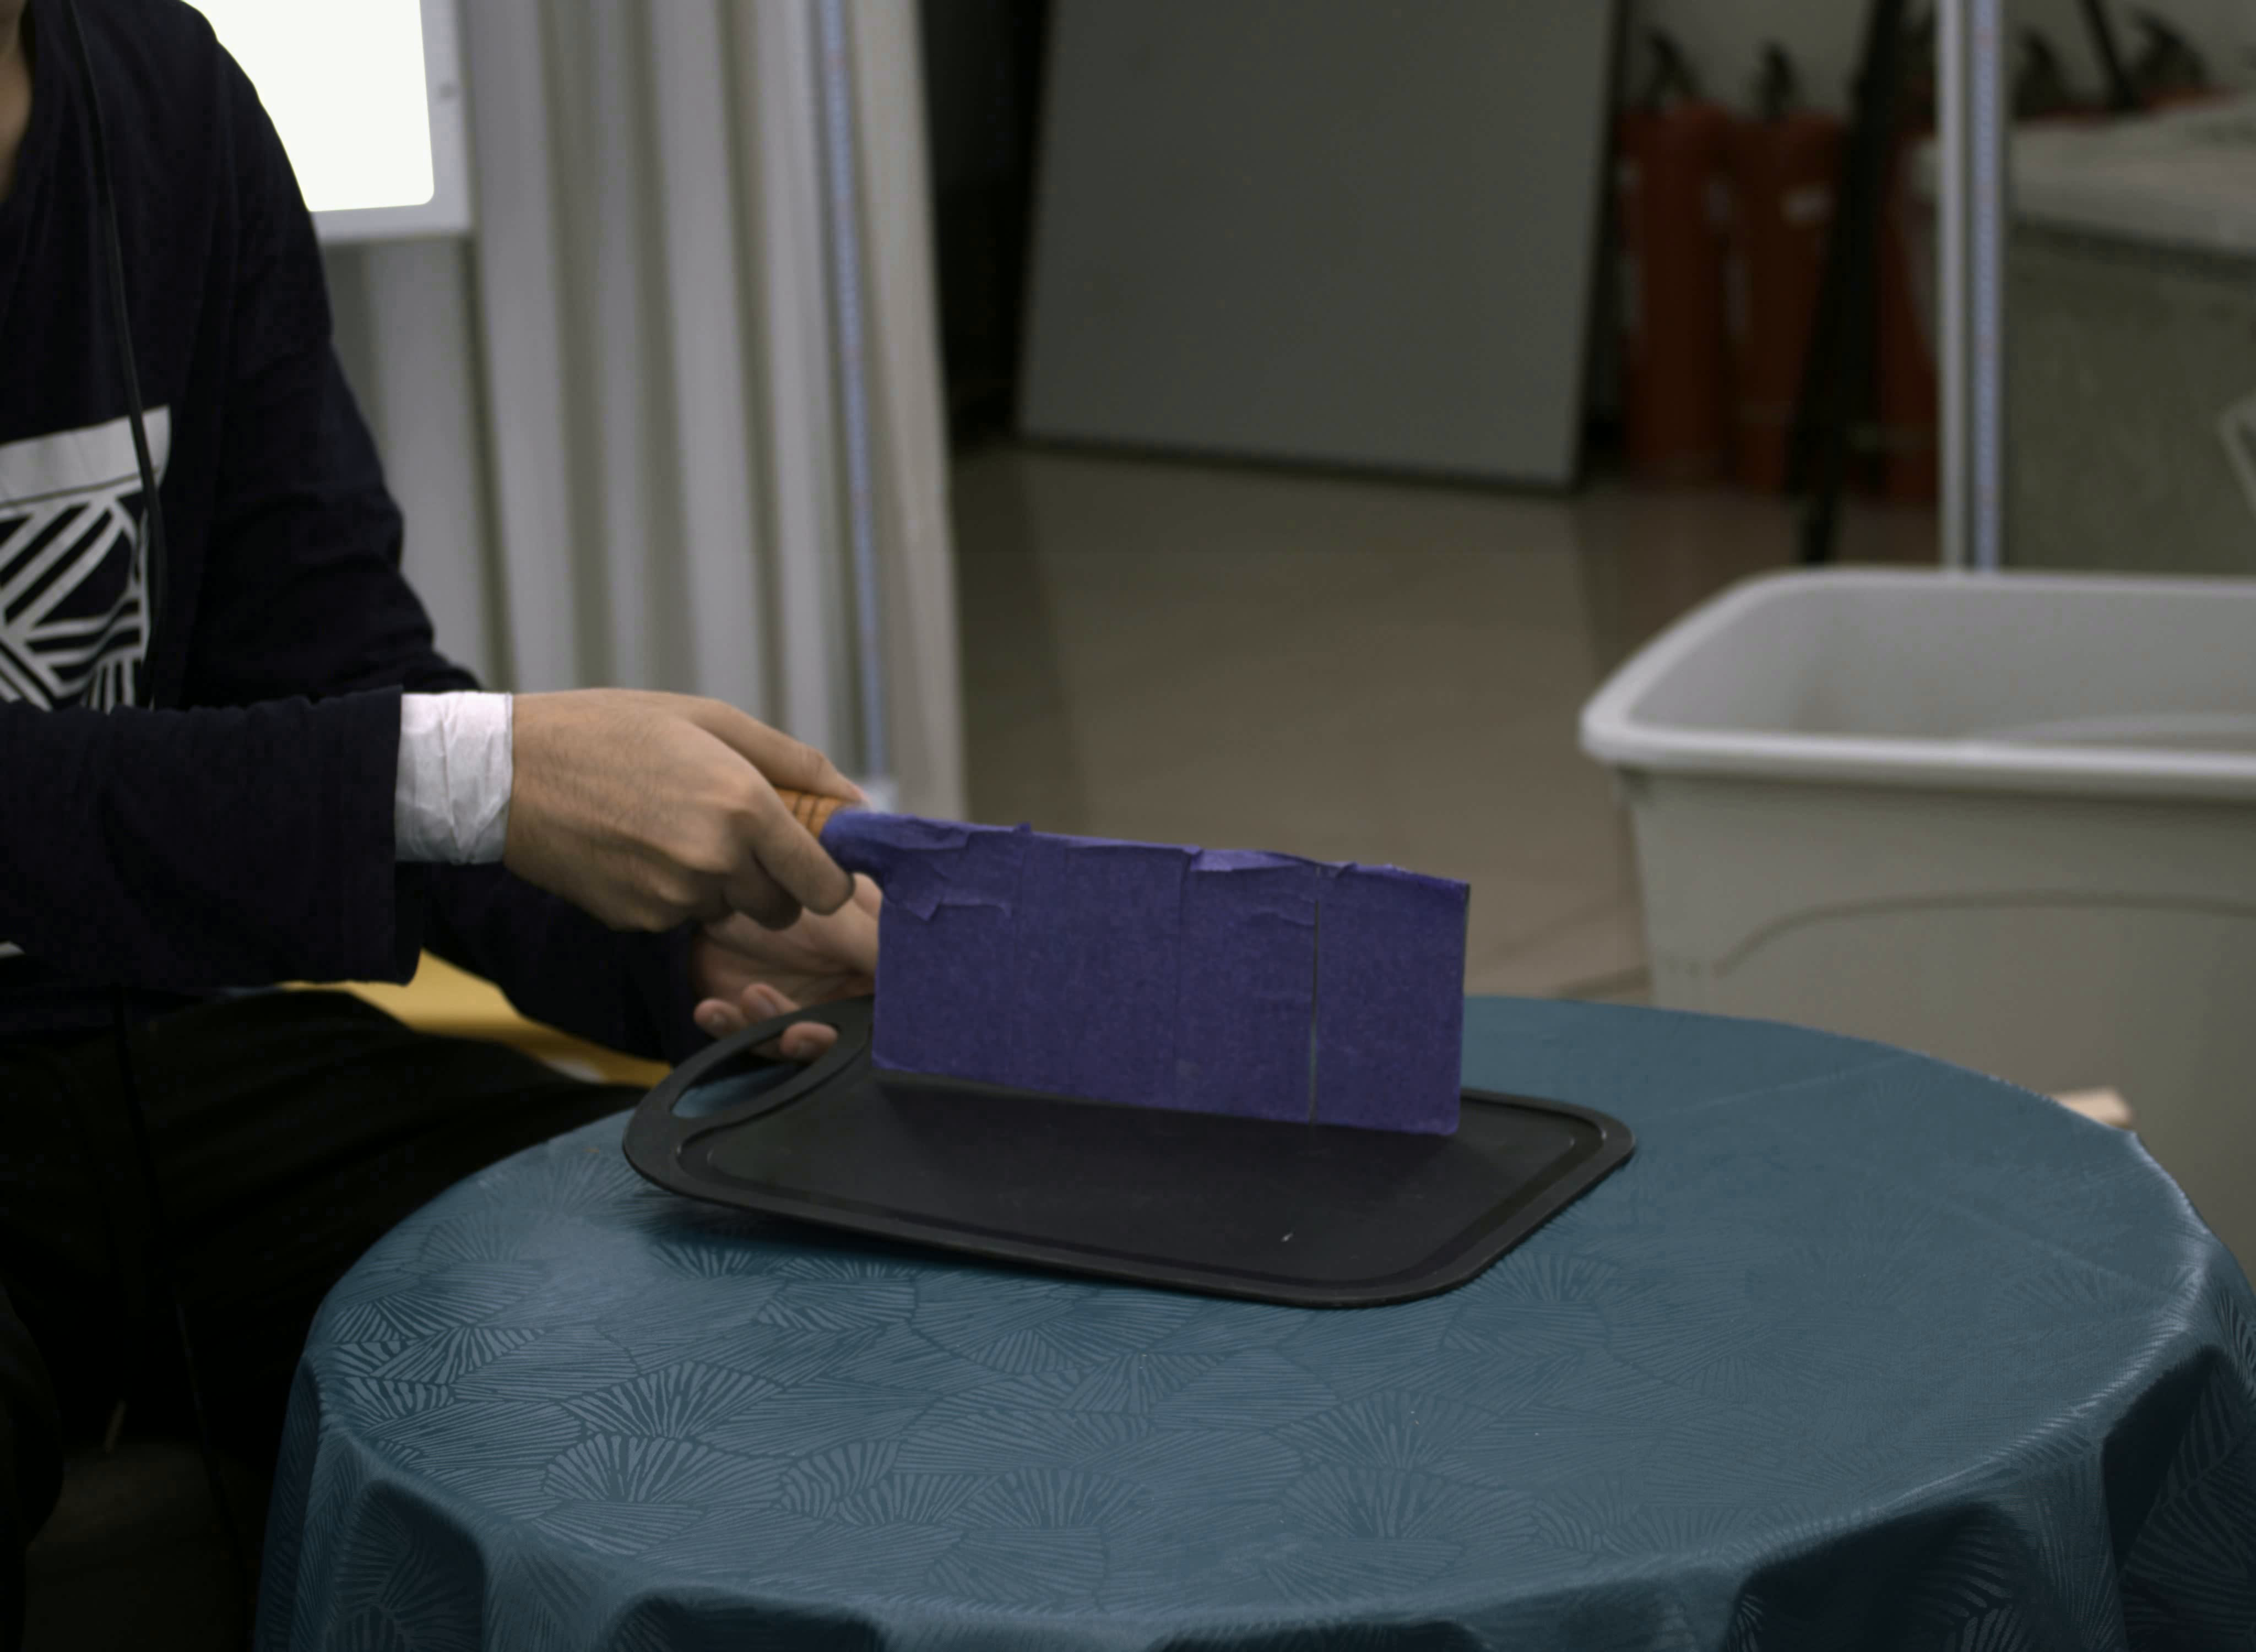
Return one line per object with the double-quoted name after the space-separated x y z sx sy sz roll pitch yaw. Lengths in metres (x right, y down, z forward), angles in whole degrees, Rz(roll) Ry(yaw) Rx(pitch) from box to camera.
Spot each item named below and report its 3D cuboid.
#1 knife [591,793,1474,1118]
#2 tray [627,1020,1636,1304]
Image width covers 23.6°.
-0.035 0.045 1.824 0.314 0.105 0.032 5 8 19 "knife"
-0.006 0.106 1.791 0.326 0.010 0.208 8 18 28 "tray"
